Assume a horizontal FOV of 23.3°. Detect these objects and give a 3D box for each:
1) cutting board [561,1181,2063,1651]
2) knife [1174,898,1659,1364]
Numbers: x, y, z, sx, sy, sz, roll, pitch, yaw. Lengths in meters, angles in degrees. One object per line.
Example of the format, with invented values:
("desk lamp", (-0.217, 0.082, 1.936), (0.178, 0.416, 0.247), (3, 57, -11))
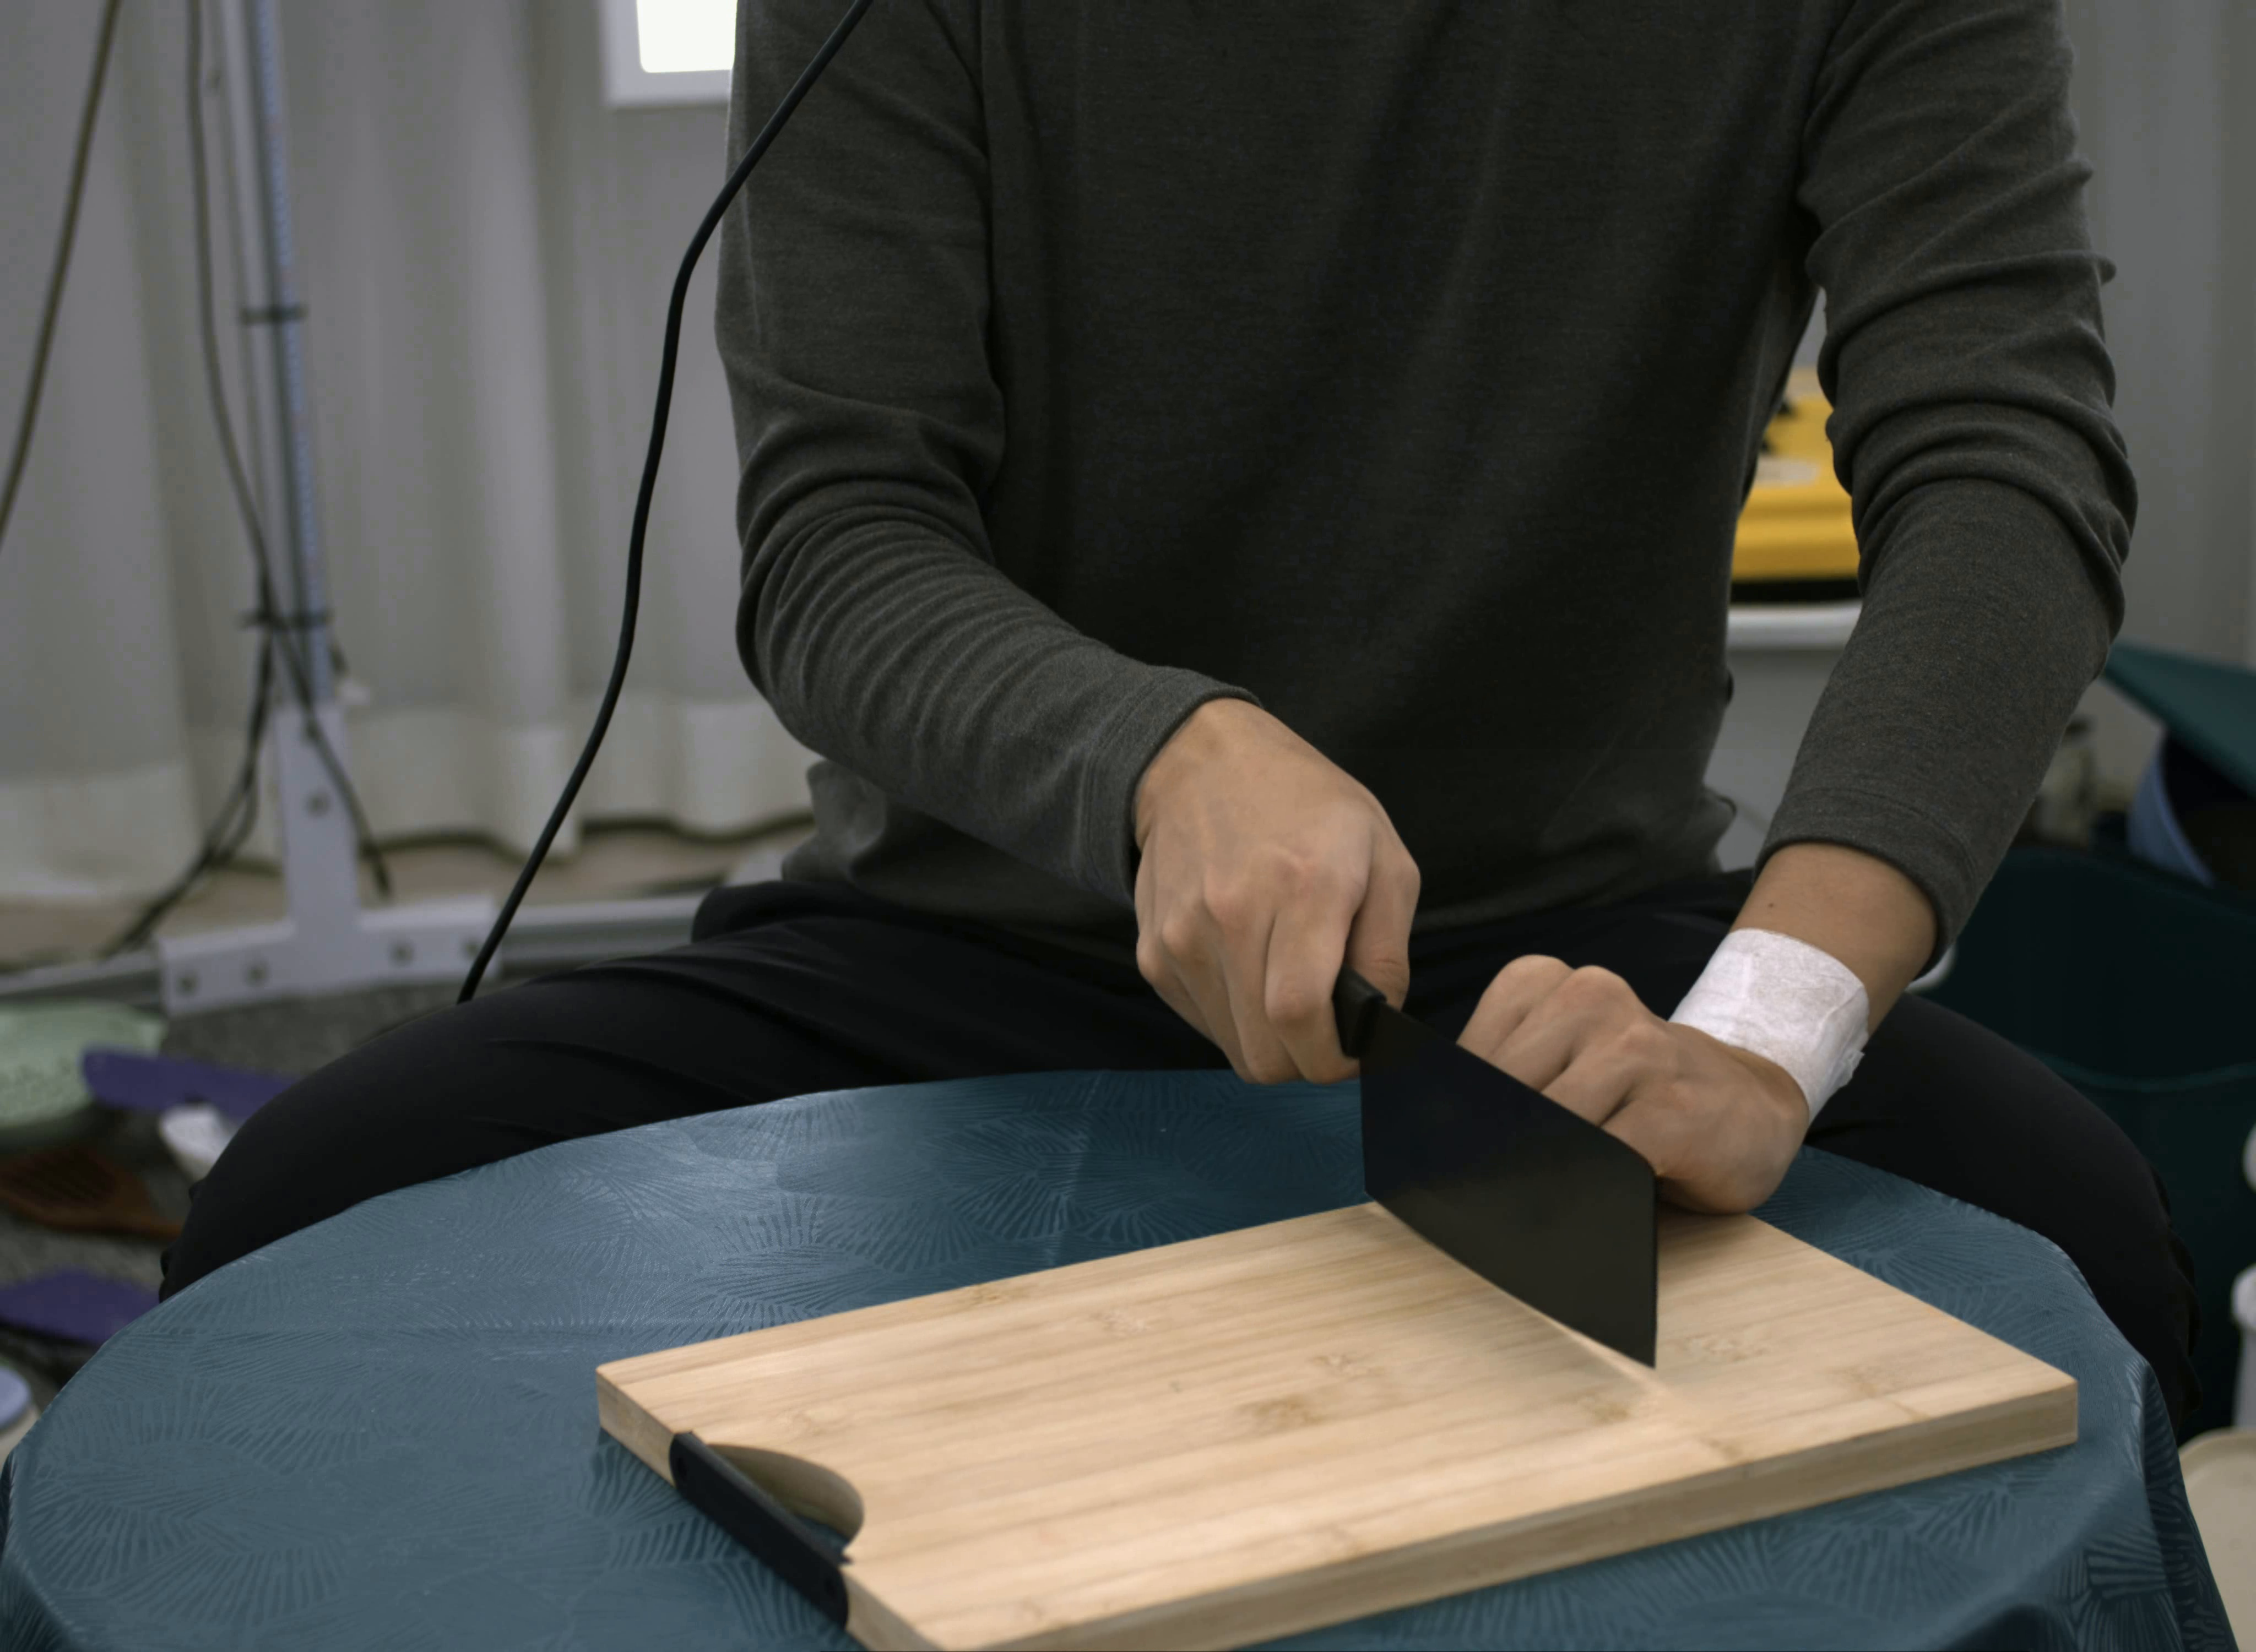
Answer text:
("cutting board", (0.049, 0.161, 1.504), (0.347, 0.023, 0.252), (-10, 16, -26))
("knife", (0.082, 0.082, 1.603), (0.021, 0.080, 0.305), (-7, 20, -23))
